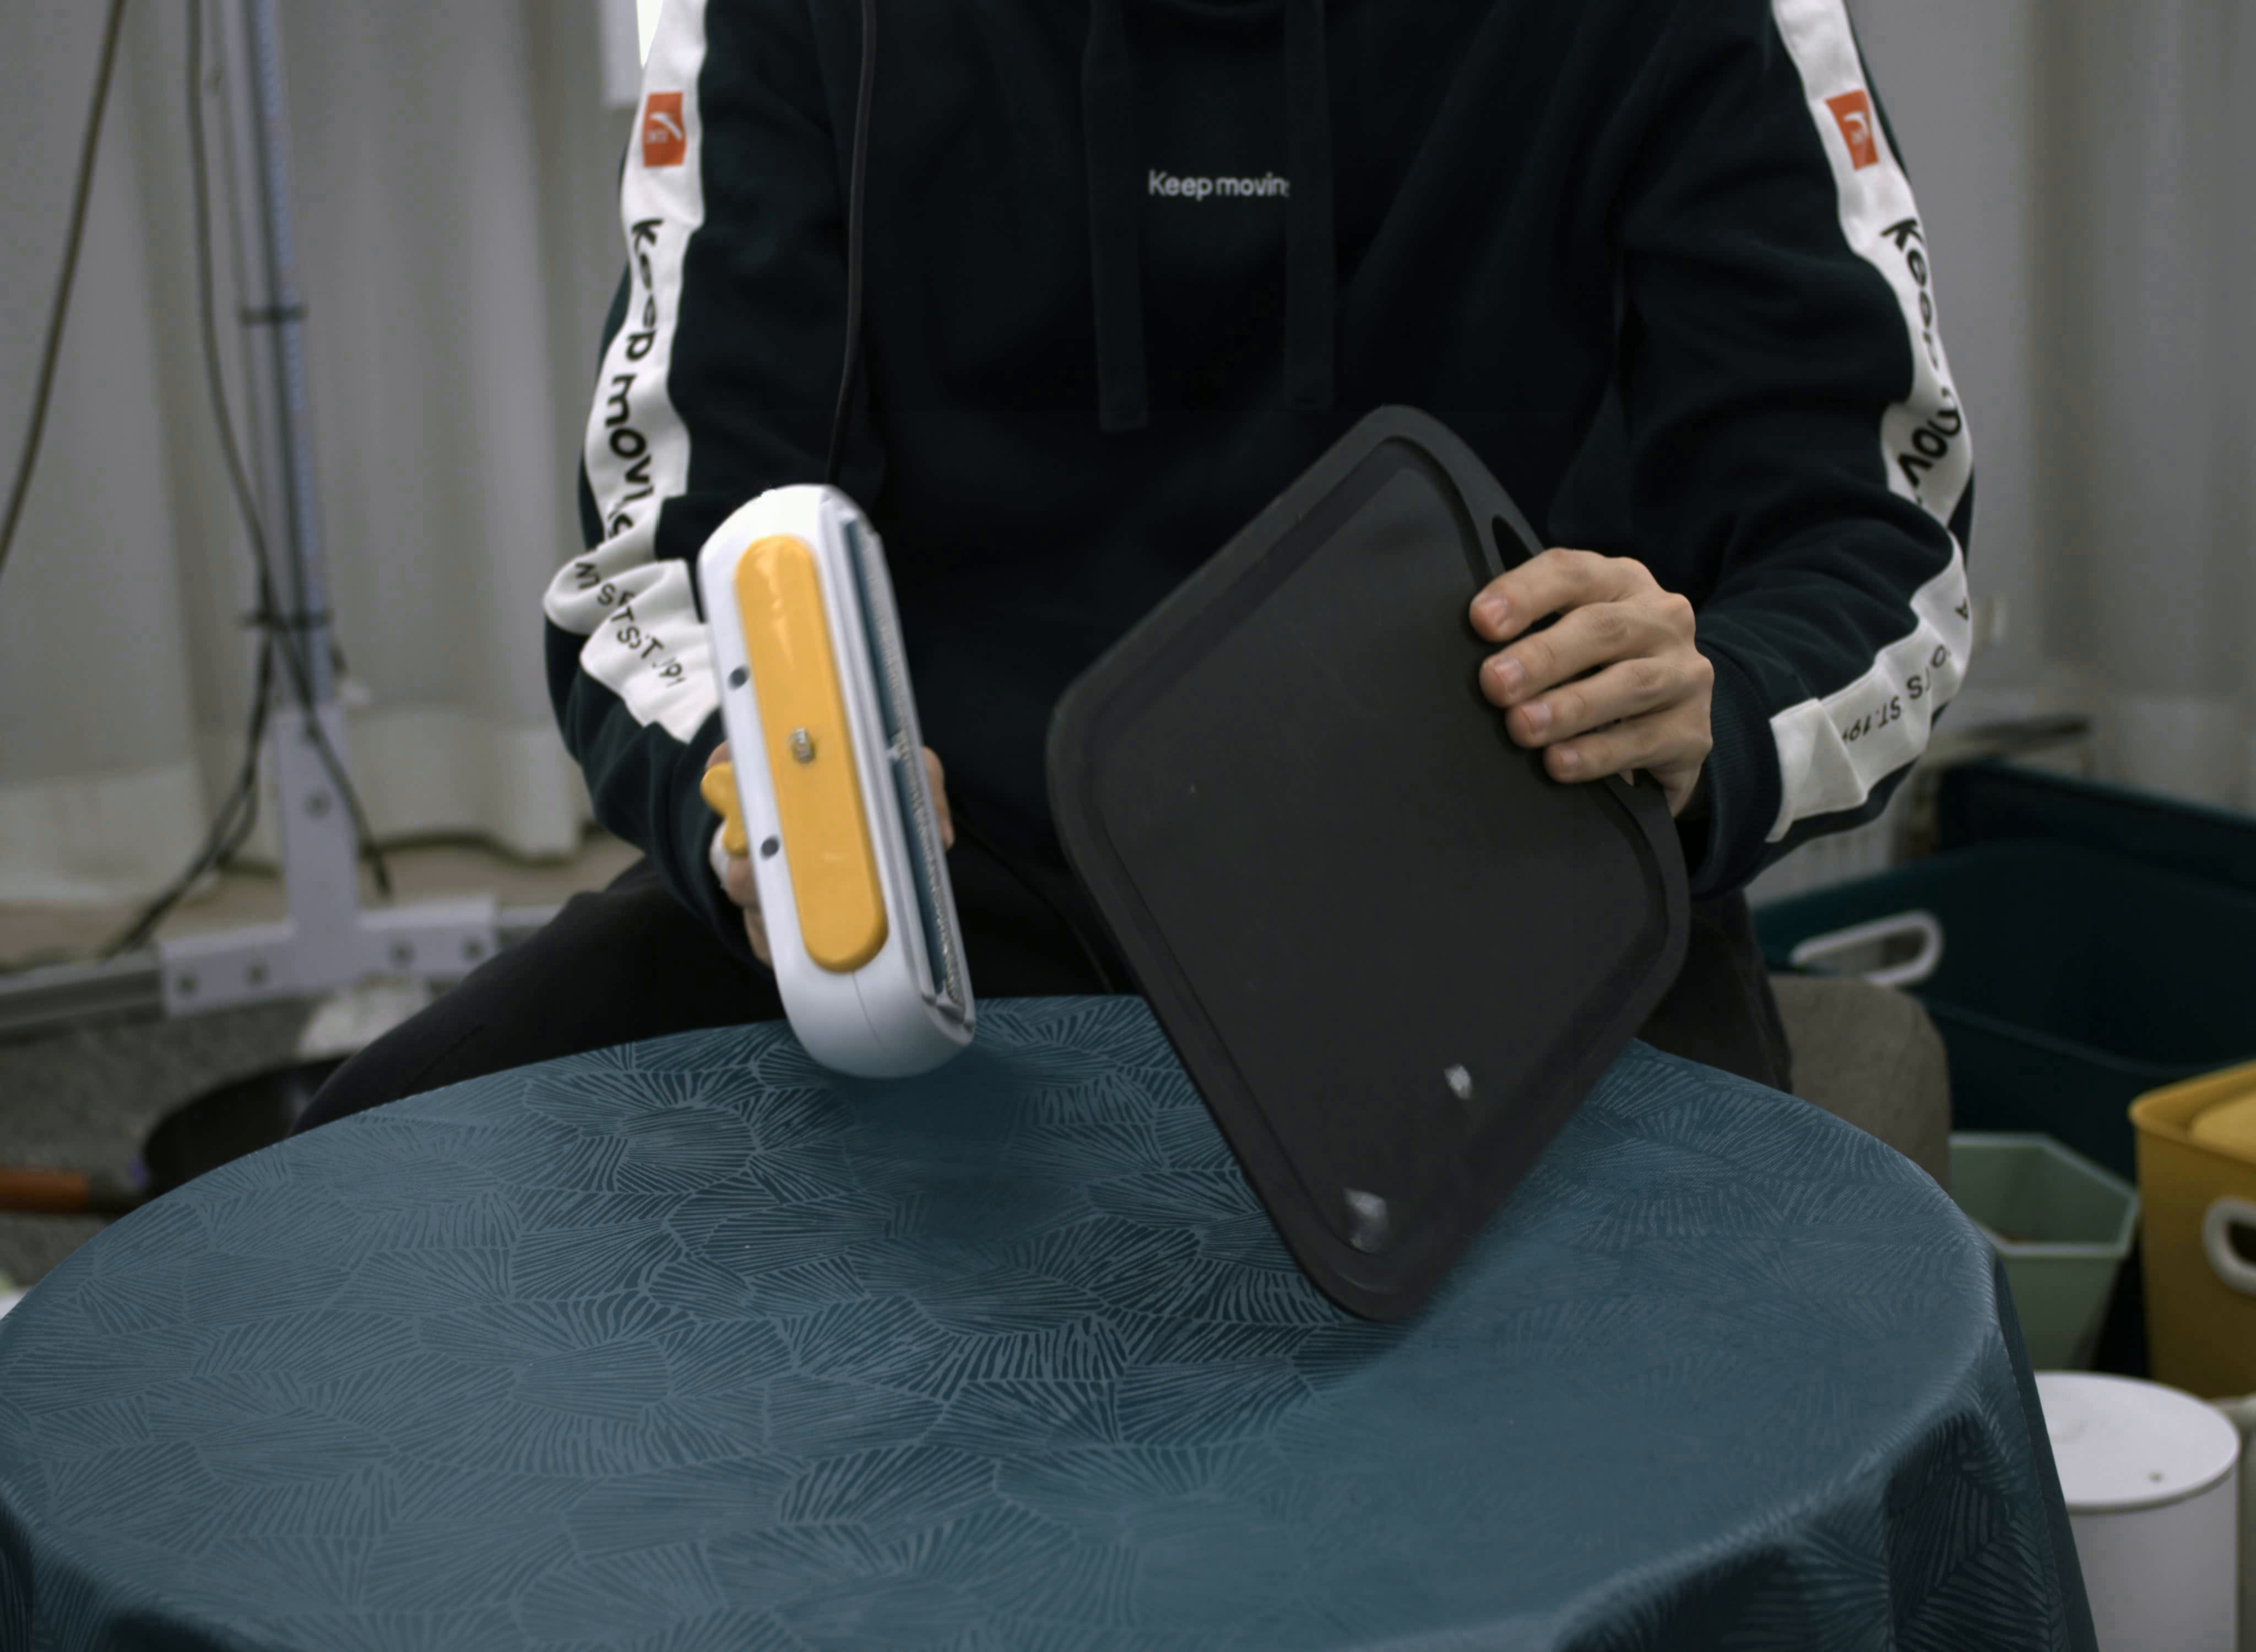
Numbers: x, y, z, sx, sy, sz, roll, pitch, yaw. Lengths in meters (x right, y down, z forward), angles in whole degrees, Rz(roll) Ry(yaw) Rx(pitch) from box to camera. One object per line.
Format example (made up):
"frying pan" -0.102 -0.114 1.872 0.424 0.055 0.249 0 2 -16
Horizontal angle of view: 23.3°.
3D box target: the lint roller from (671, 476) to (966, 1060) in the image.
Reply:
"lint roller" -0.088 0.005 1.767 0.074 0.195 0.190 -21 -25 6

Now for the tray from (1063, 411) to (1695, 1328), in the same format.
"tray" 0.086 0.001 1.655 0.010 0.210 0.327 -24 12 33
